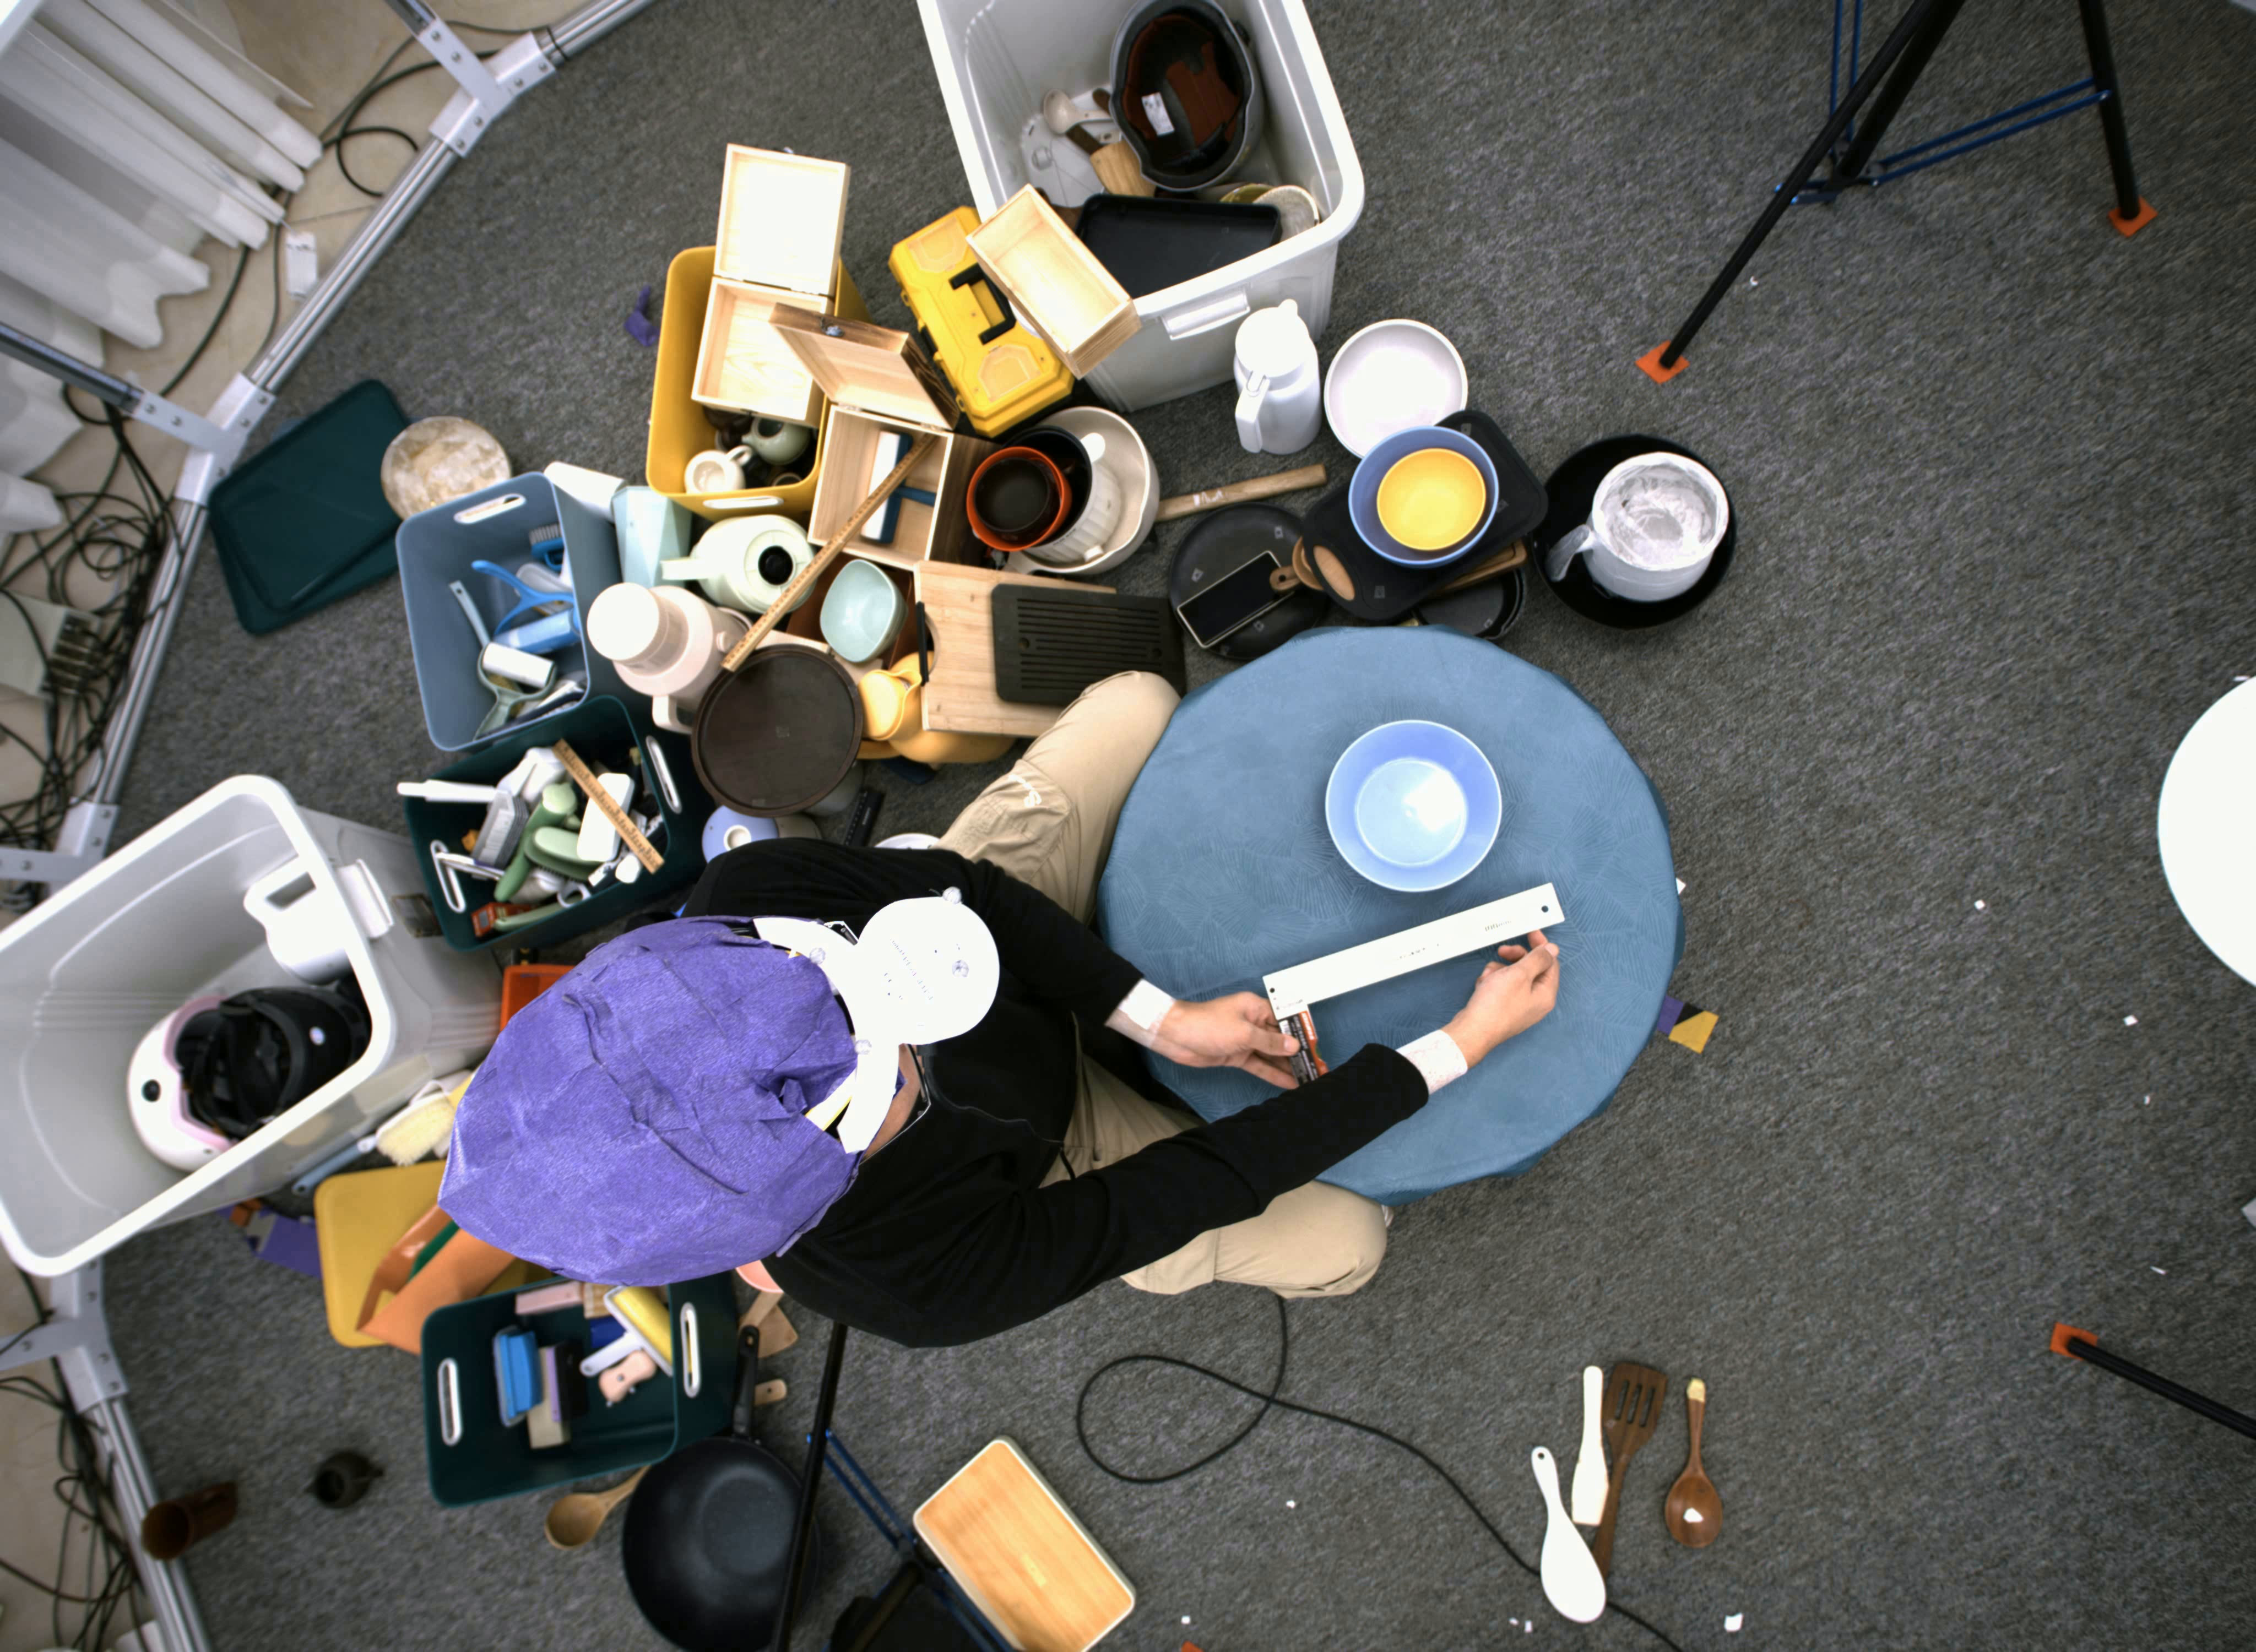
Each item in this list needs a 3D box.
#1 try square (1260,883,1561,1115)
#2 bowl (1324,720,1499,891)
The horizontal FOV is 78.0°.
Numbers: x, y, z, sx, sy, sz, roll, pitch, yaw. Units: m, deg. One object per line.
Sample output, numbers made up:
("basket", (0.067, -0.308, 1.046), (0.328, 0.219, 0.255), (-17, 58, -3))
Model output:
("try square", (0.303, 0.175, 1.410), (0.314, 0.016, 0.152), (-18, 88, 7))
("bowl", (0.292, -0.019, 1.426), (0.177, 0.070, 0.175), (-1, 87, 10))
